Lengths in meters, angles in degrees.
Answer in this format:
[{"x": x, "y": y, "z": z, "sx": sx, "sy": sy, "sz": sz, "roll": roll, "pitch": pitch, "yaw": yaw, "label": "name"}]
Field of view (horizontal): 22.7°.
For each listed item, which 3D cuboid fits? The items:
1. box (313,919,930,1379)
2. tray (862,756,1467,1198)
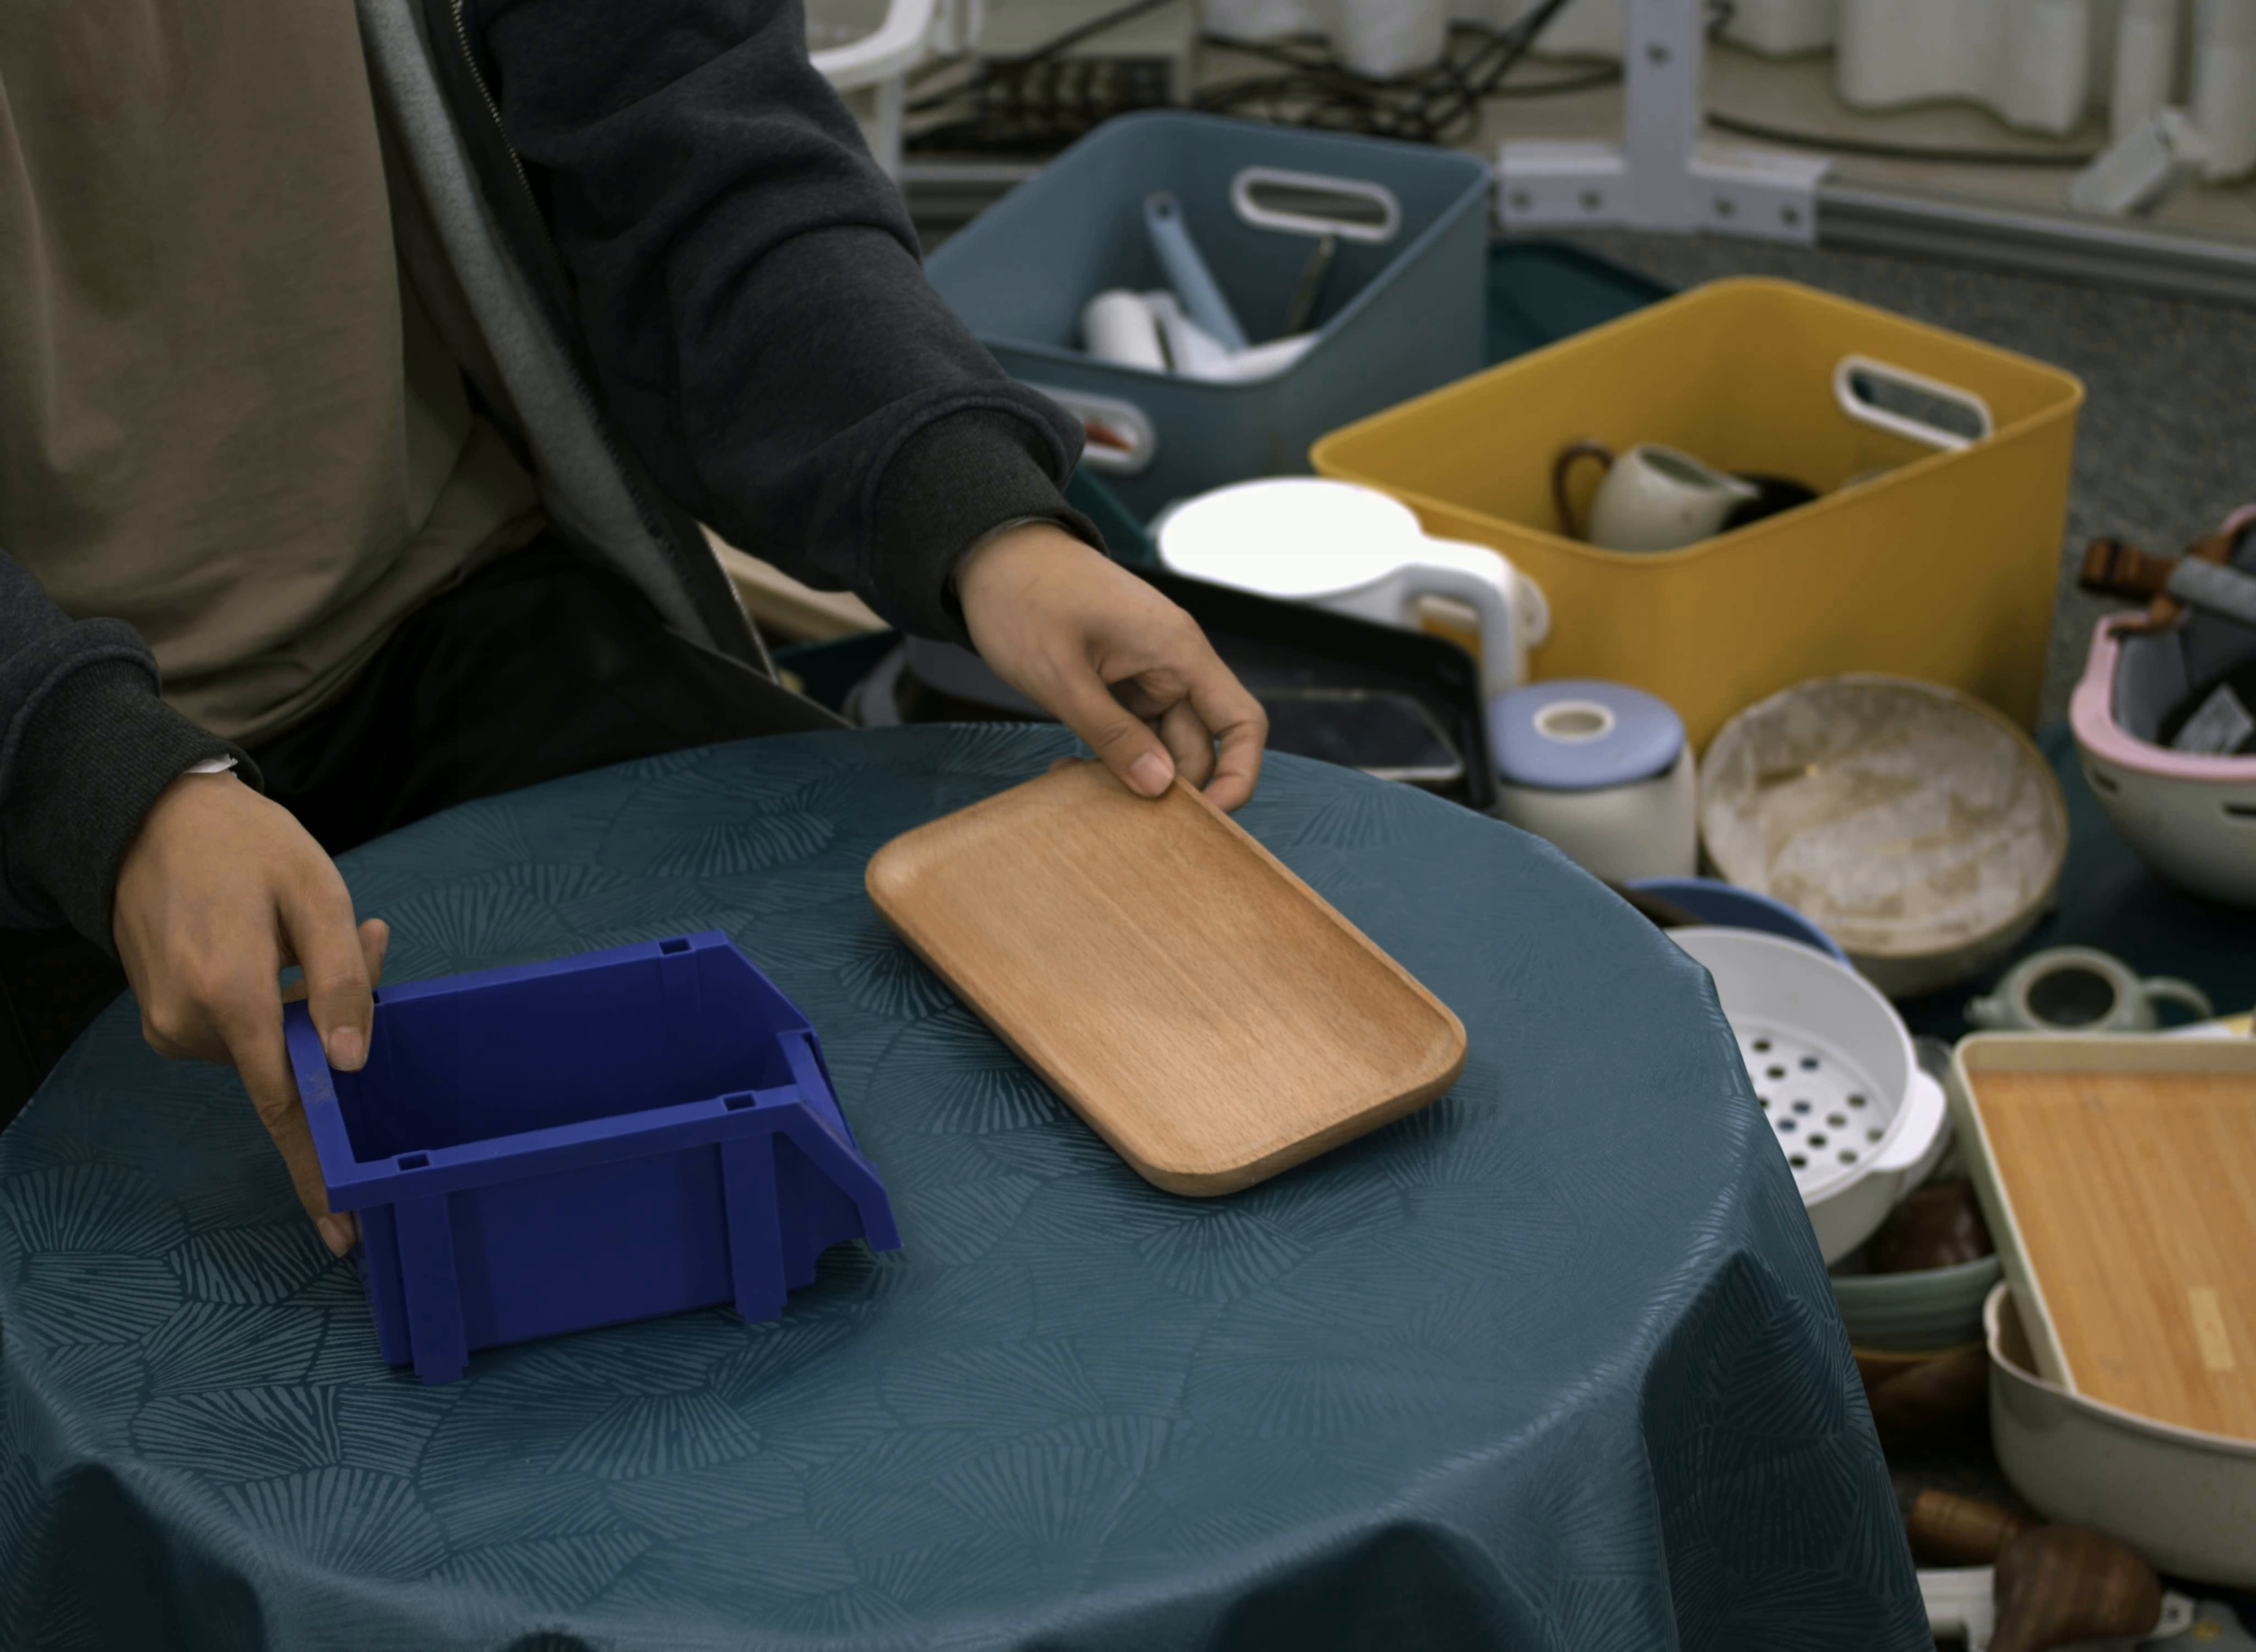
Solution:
[{"x": -0.165, "y": 0.102, "z": 1.829, "sx": 0.179, "sy": 0.081, "sz": 0.126, "roll": -12, "pitch": 28, "yaw": -10, "label": "box"}, {"x": 0.010, "y": 0.050, "z": 1.957, "sx": 0.131, "sy": 0.022, "sz": 0.252, "roll": -21, "pitch": 33, "yaw": -21, "label": "tray"}]
